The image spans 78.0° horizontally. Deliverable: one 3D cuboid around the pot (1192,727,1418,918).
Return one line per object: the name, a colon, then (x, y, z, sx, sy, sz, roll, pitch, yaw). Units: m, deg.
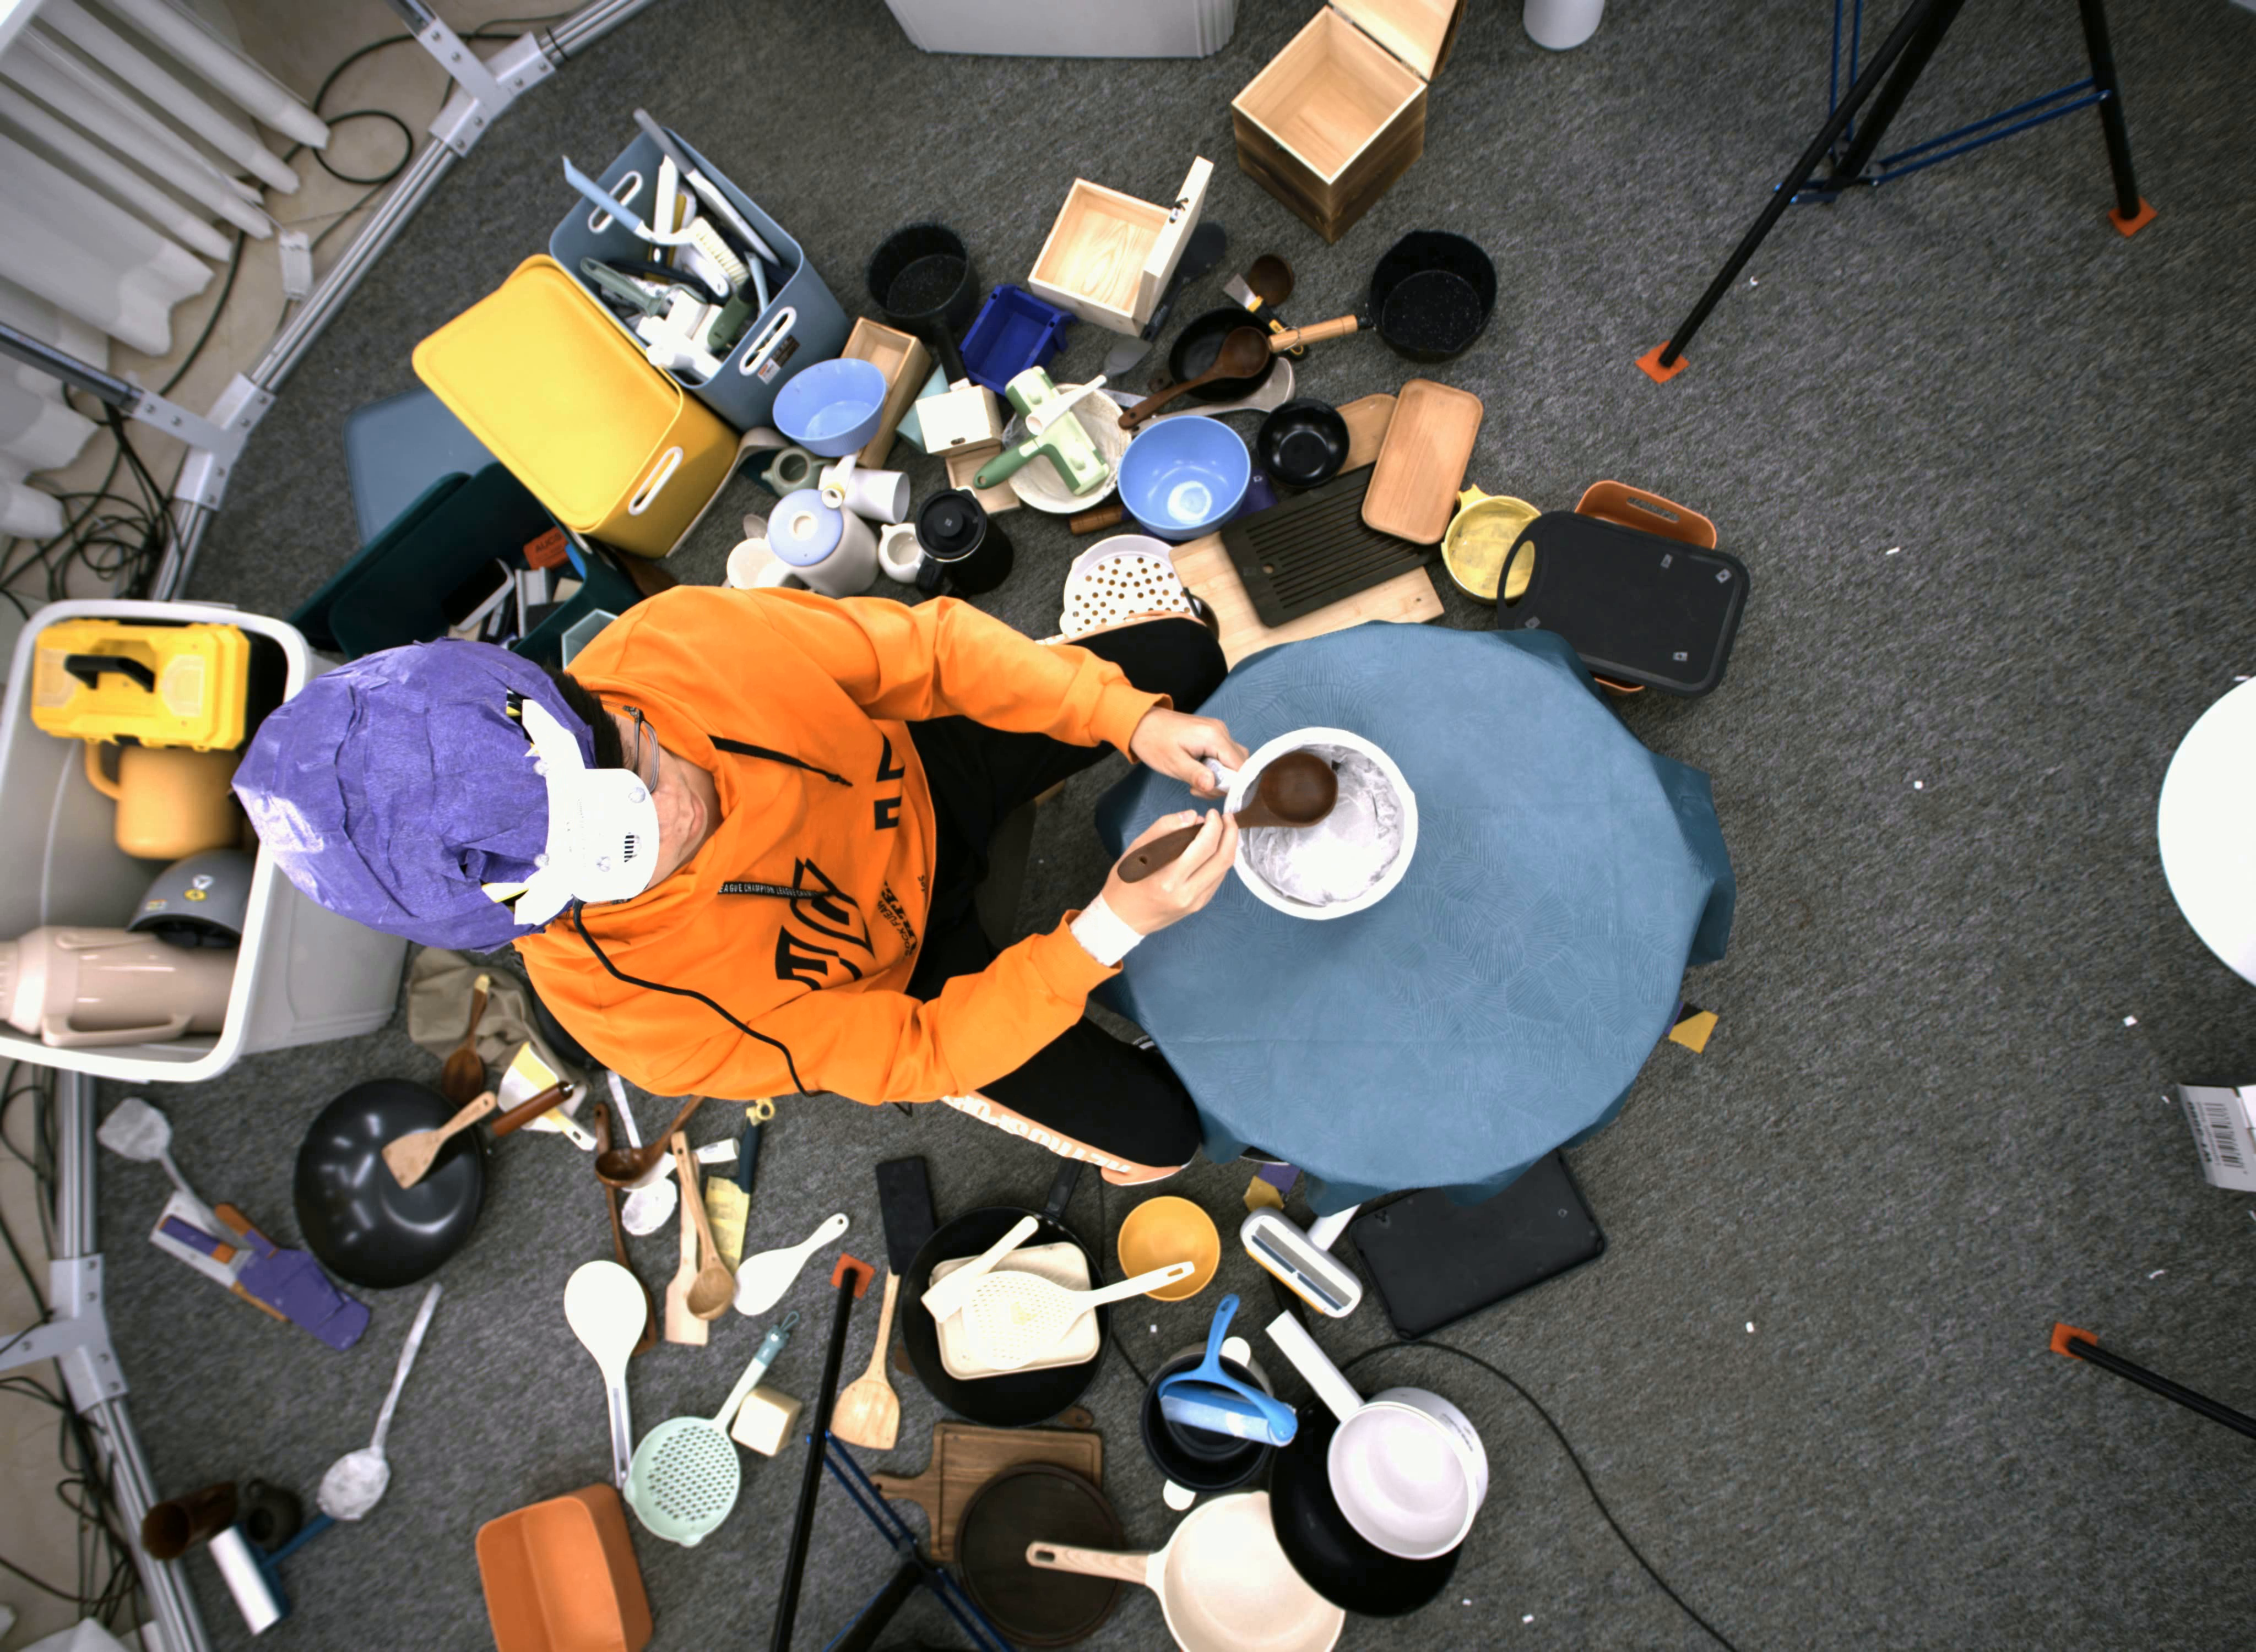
pot: (0.165, -0.012, 1.340, 0.233, 0.136, 0.179, 24, 95, 12)

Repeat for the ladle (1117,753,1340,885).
ladle: (0.095, -0.007, 1.259, 0.076, 0.256, 0.067, 52, 137, 19)
